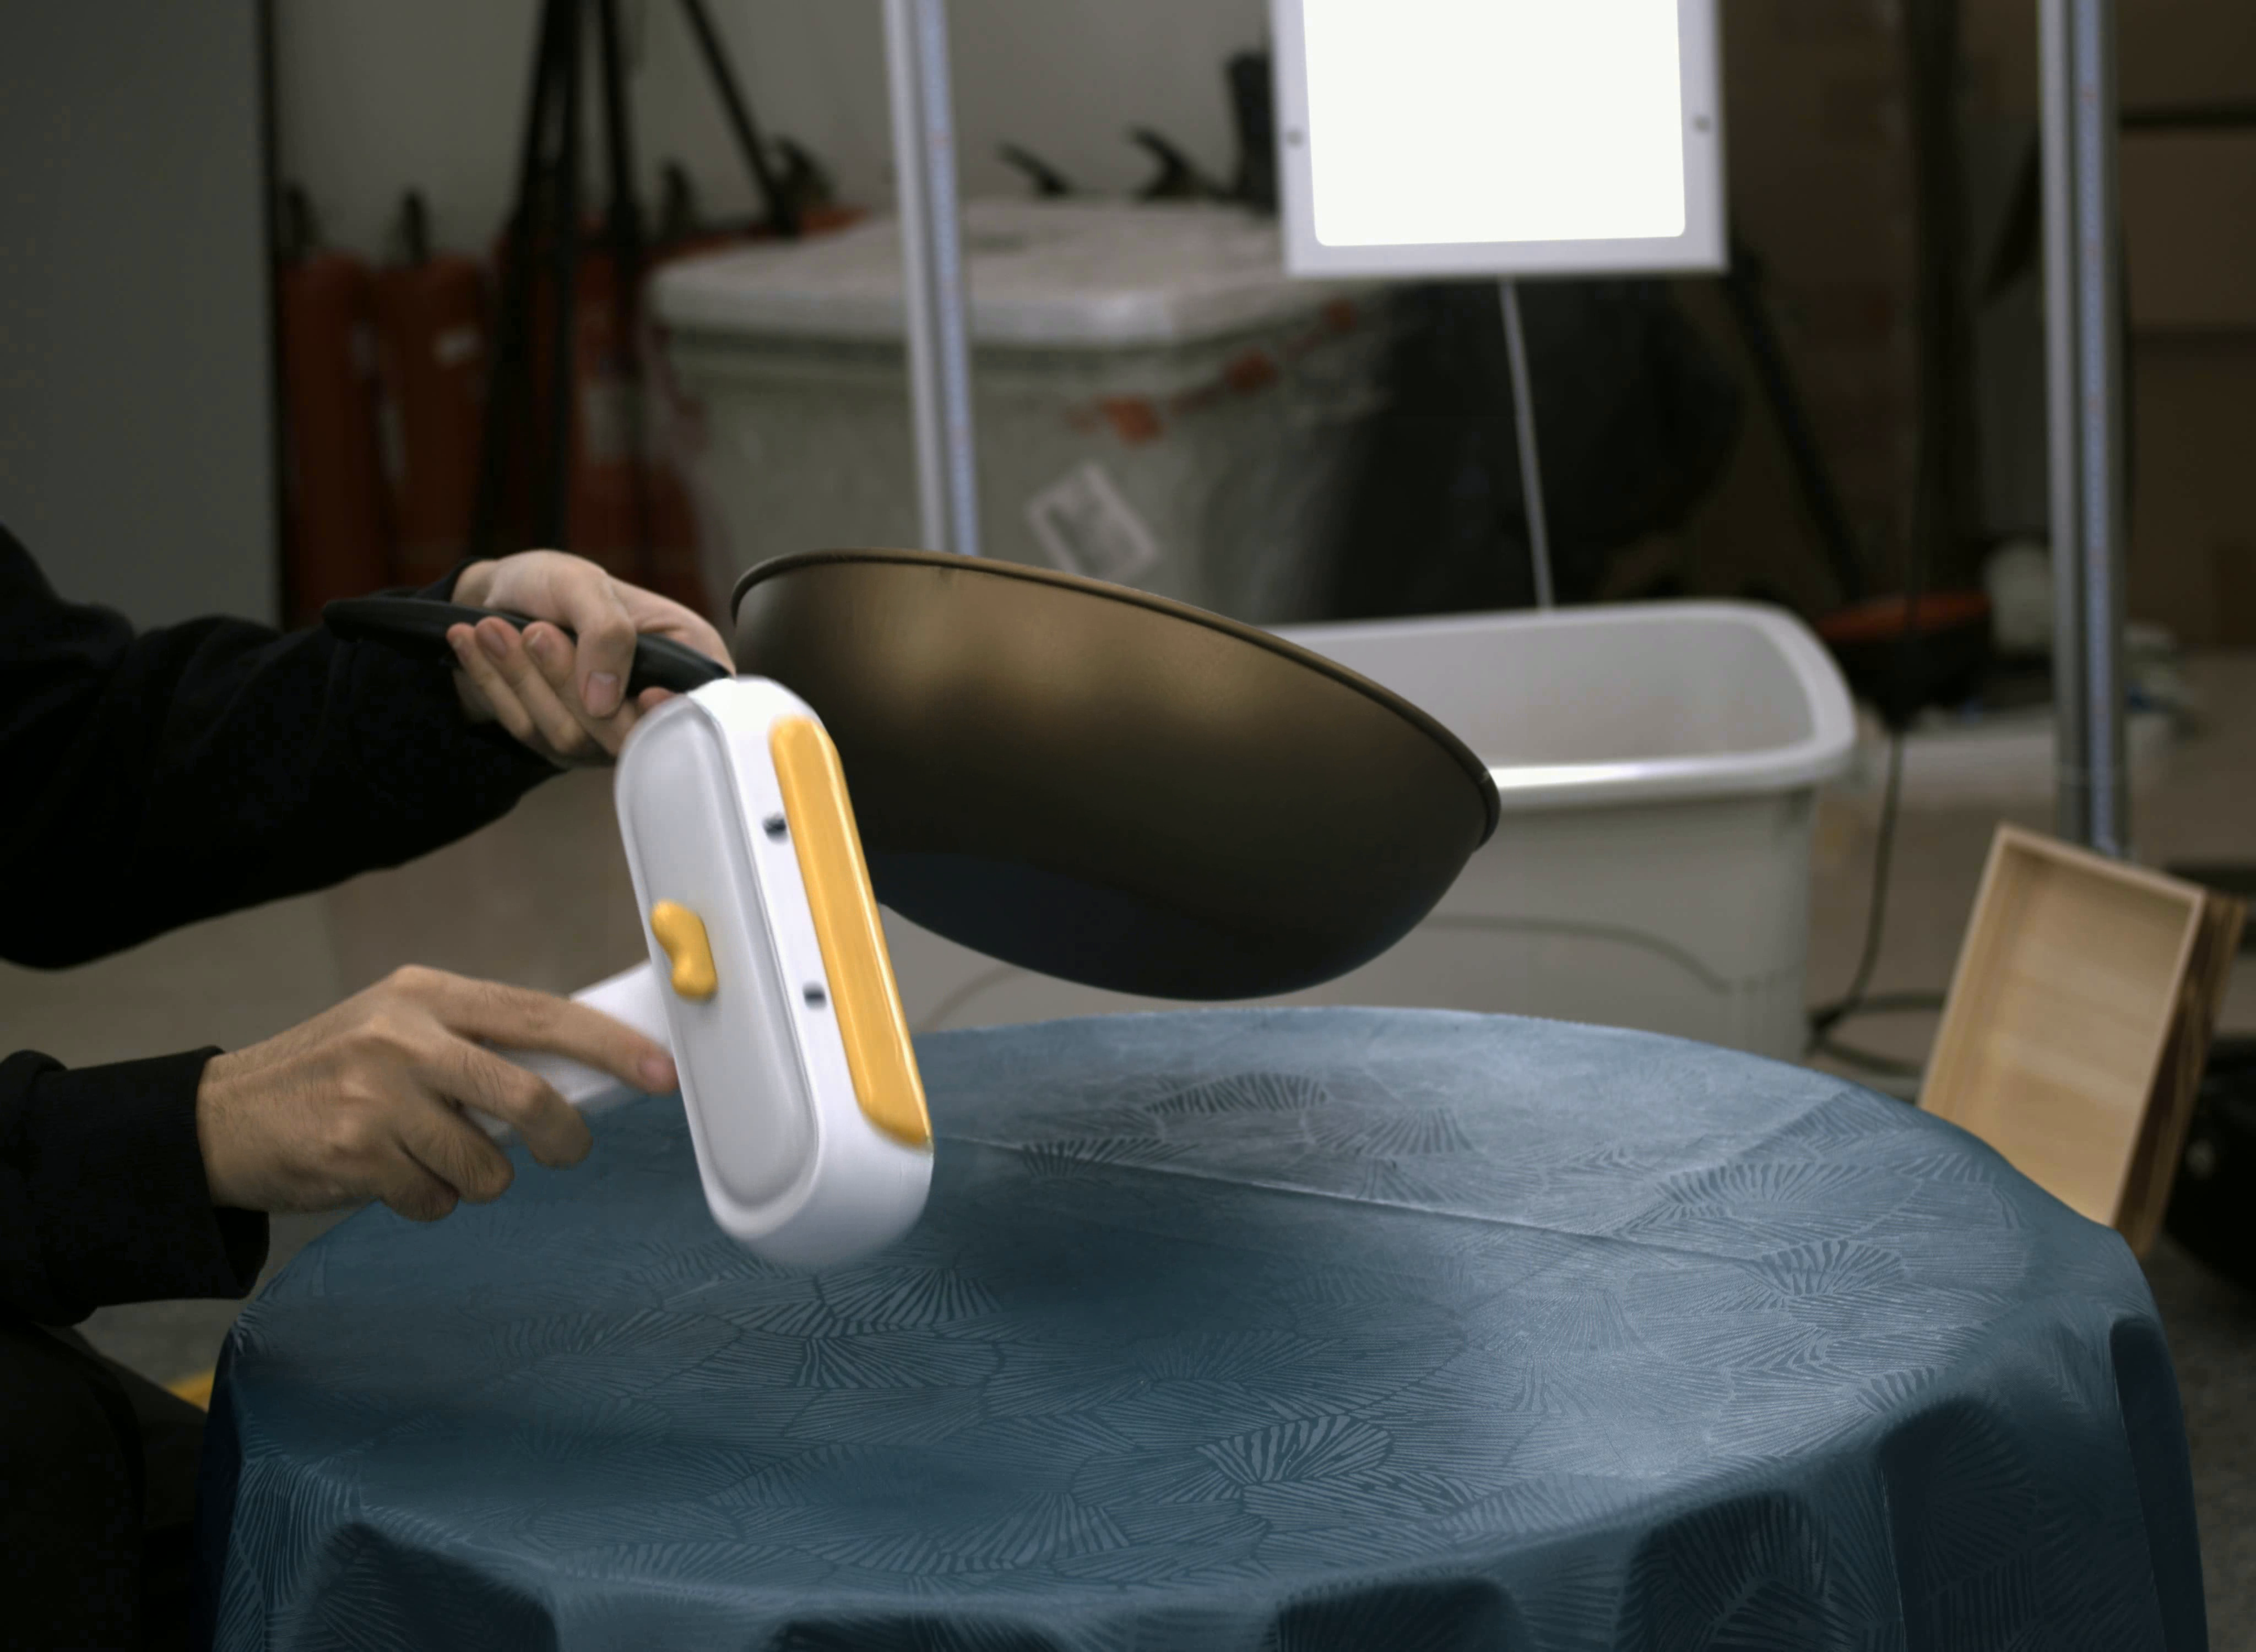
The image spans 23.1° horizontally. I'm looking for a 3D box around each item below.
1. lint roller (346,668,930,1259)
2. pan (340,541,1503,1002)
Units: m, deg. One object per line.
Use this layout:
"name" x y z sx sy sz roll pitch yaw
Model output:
"lint roller" -0.160 0.068 1.729 0.196 0.194 0.072 -32 -25 28
"pan" -0.096 -0.016 1.940 0.471 0.086 0.284 8 -18 28
